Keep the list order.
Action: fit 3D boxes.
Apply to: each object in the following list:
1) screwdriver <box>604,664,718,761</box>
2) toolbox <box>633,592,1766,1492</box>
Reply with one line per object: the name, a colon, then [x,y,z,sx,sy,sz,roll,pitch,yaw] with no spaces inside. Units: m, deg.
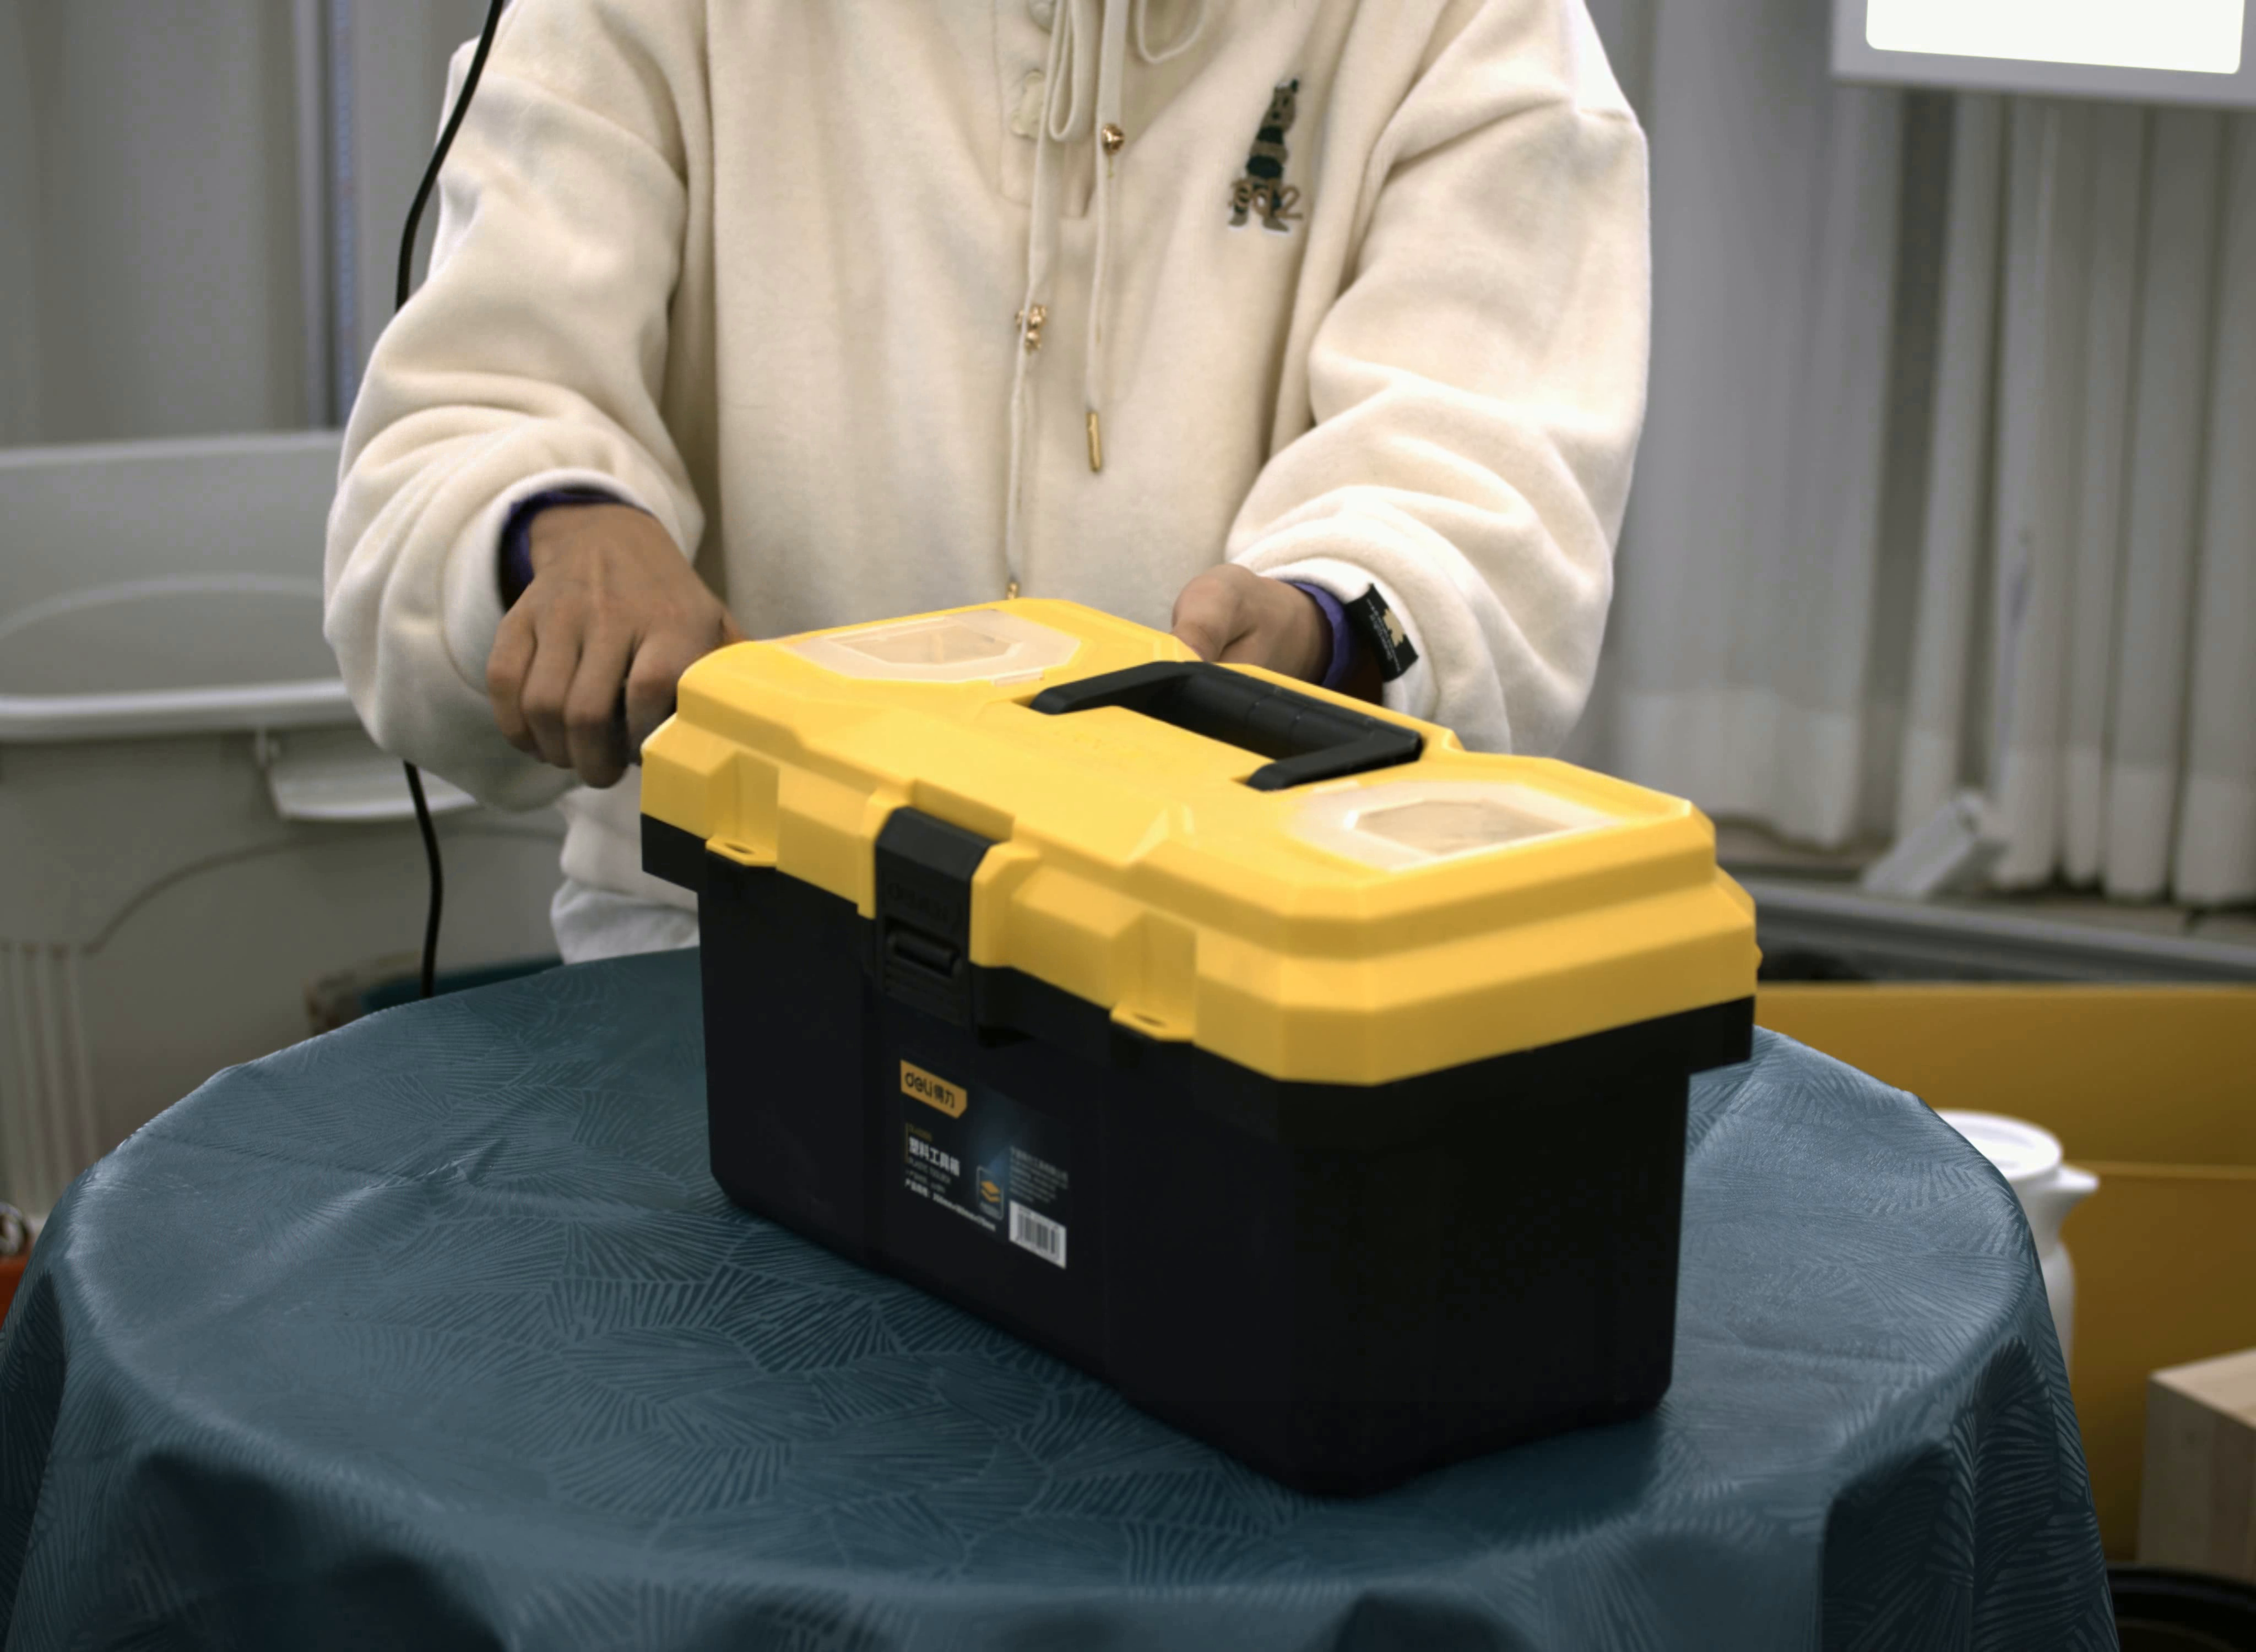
screwdriver: [-0.130,-0.044,1.703,0.031,0.031,0.195,-7,-4,-24]
toolbox: [0.012,0.053,1.510,0.182,0.174,0.347,-11,19,-35]
